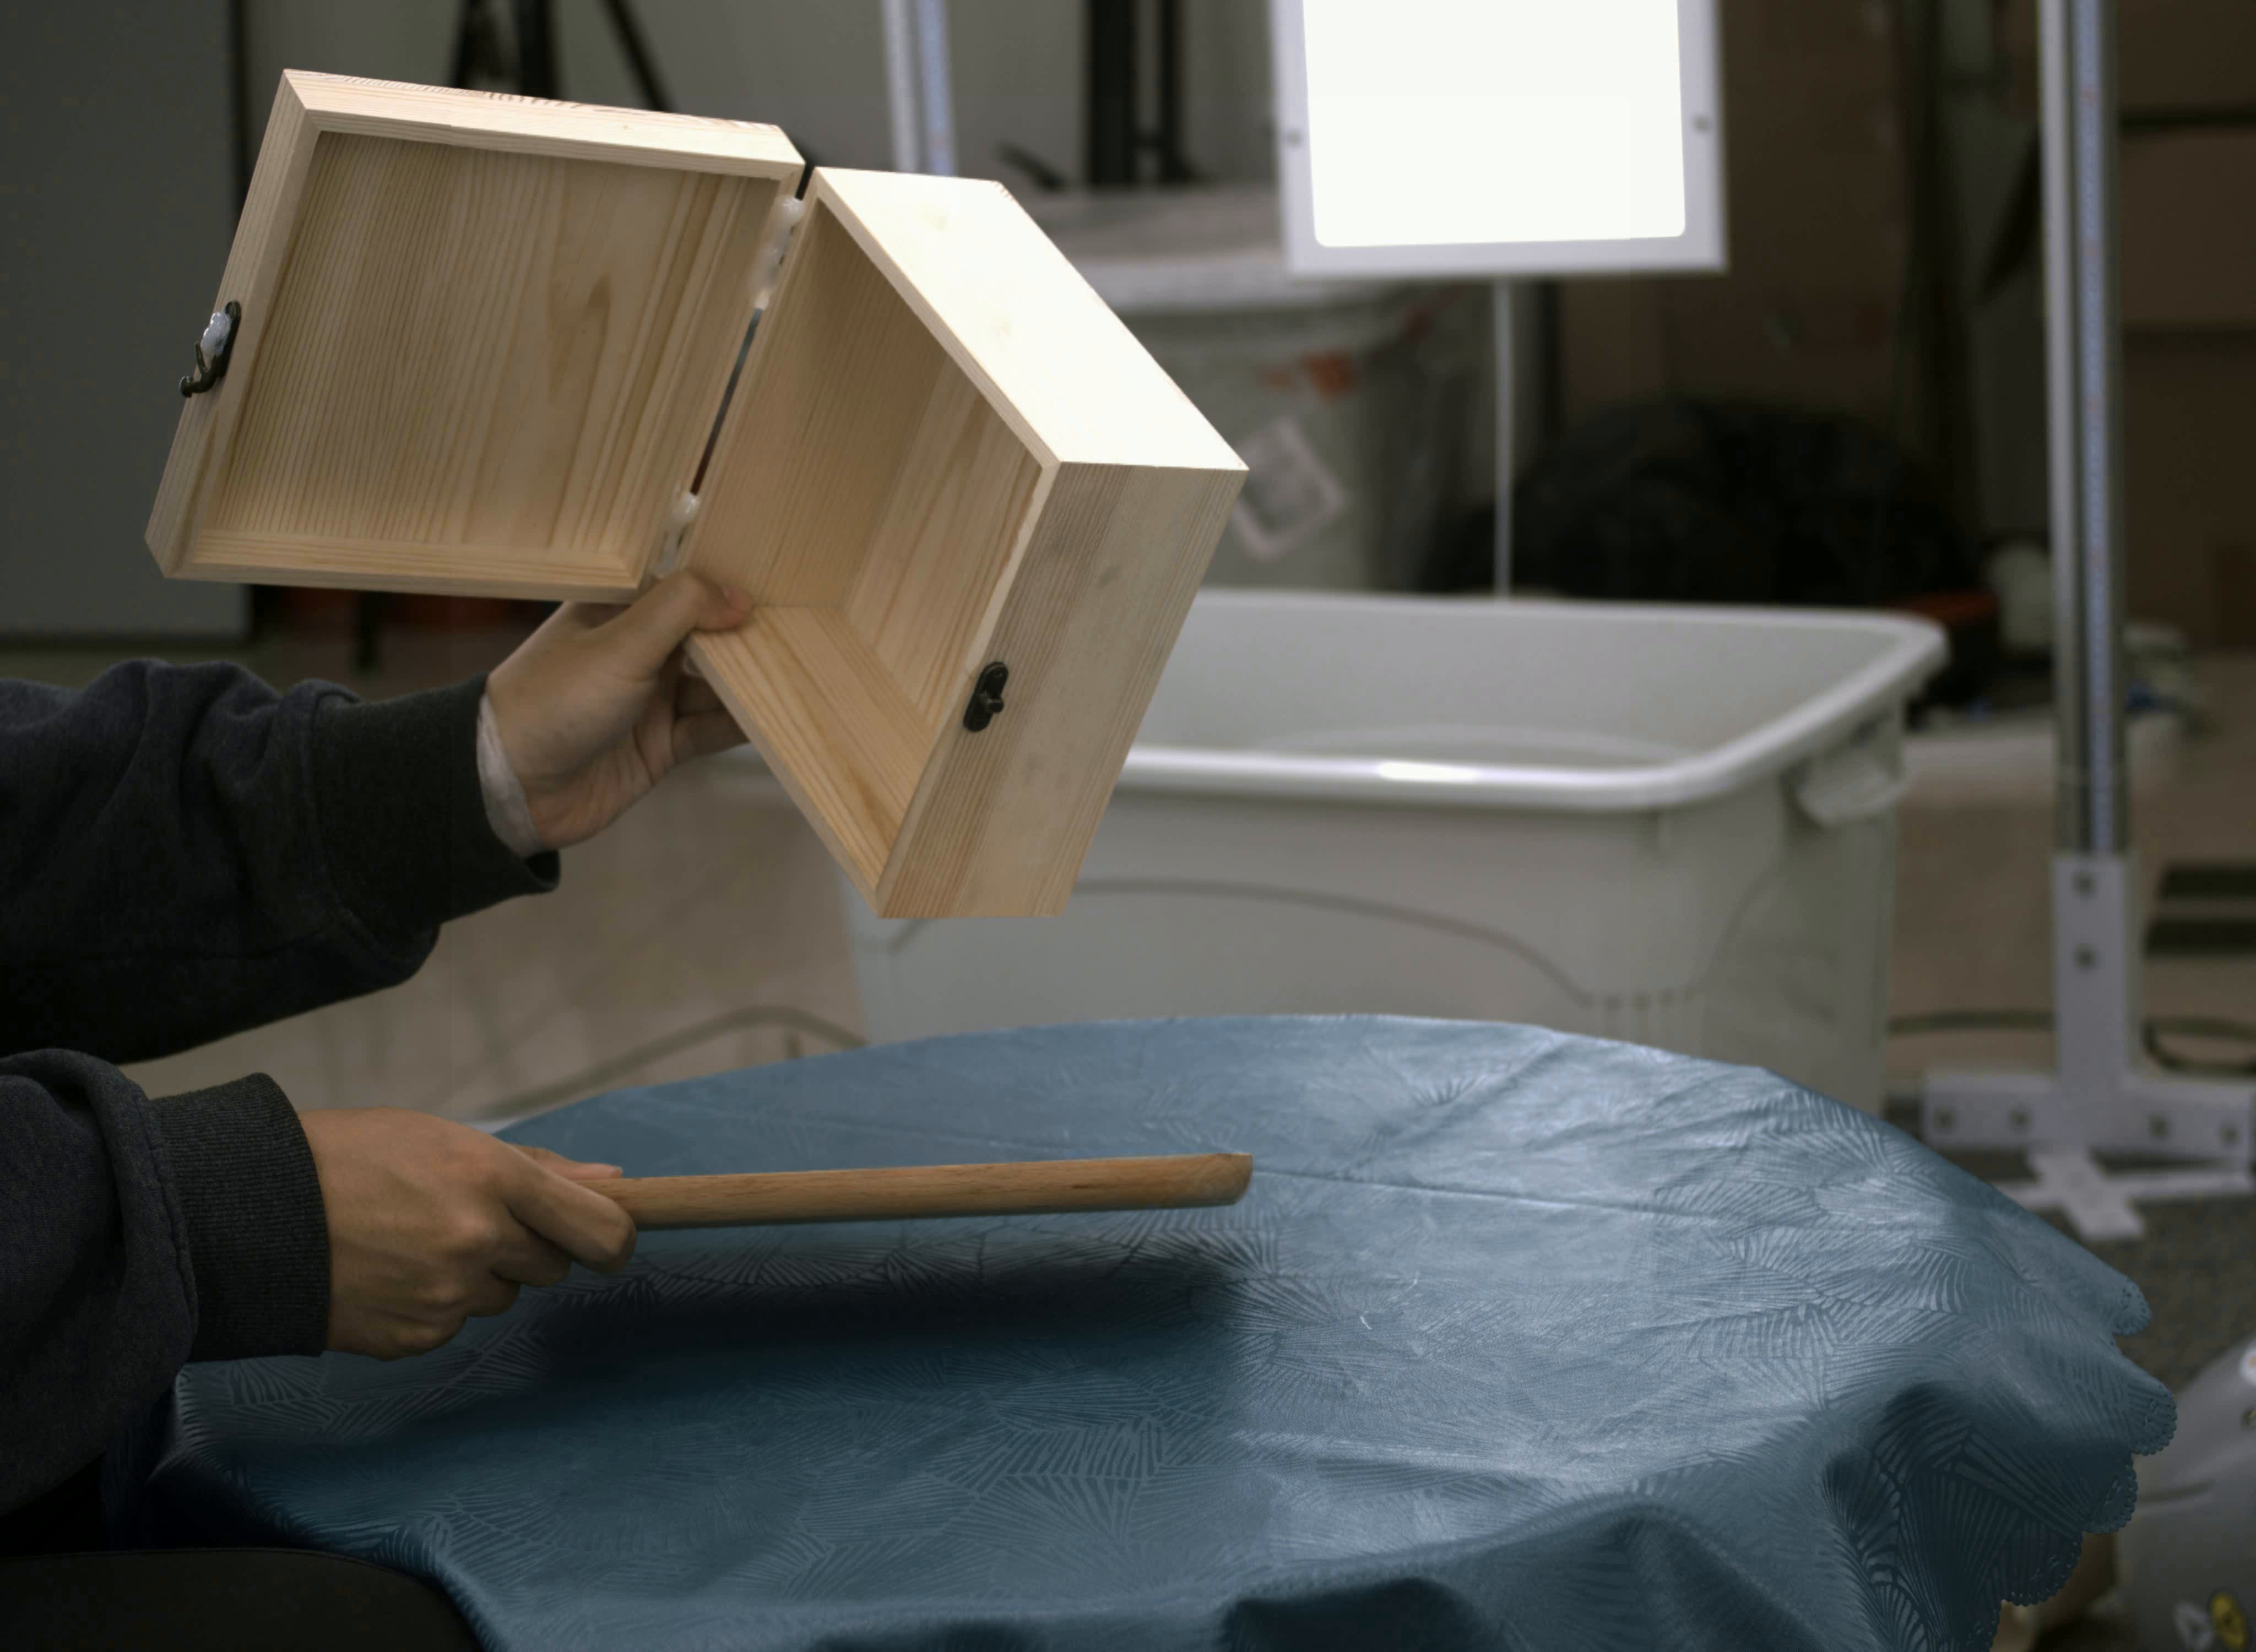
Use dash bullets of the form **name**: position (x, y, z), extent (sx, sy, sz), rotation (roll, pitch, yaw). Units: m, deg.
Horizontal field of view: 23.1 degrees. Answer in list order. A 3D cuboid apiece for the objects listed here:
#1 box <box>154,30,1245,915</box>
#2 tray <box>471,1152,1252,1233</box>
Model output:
- **box**: position (-0.149, -0.115, 1.820), extent (0.247, 0.184, 0.268), rotation (-2, 36, -31)
- **tray**: position (-0.084, 0.119, 1.790), extent (0.251, 0.023, 0.130), rotation (-3, -8, 4)
